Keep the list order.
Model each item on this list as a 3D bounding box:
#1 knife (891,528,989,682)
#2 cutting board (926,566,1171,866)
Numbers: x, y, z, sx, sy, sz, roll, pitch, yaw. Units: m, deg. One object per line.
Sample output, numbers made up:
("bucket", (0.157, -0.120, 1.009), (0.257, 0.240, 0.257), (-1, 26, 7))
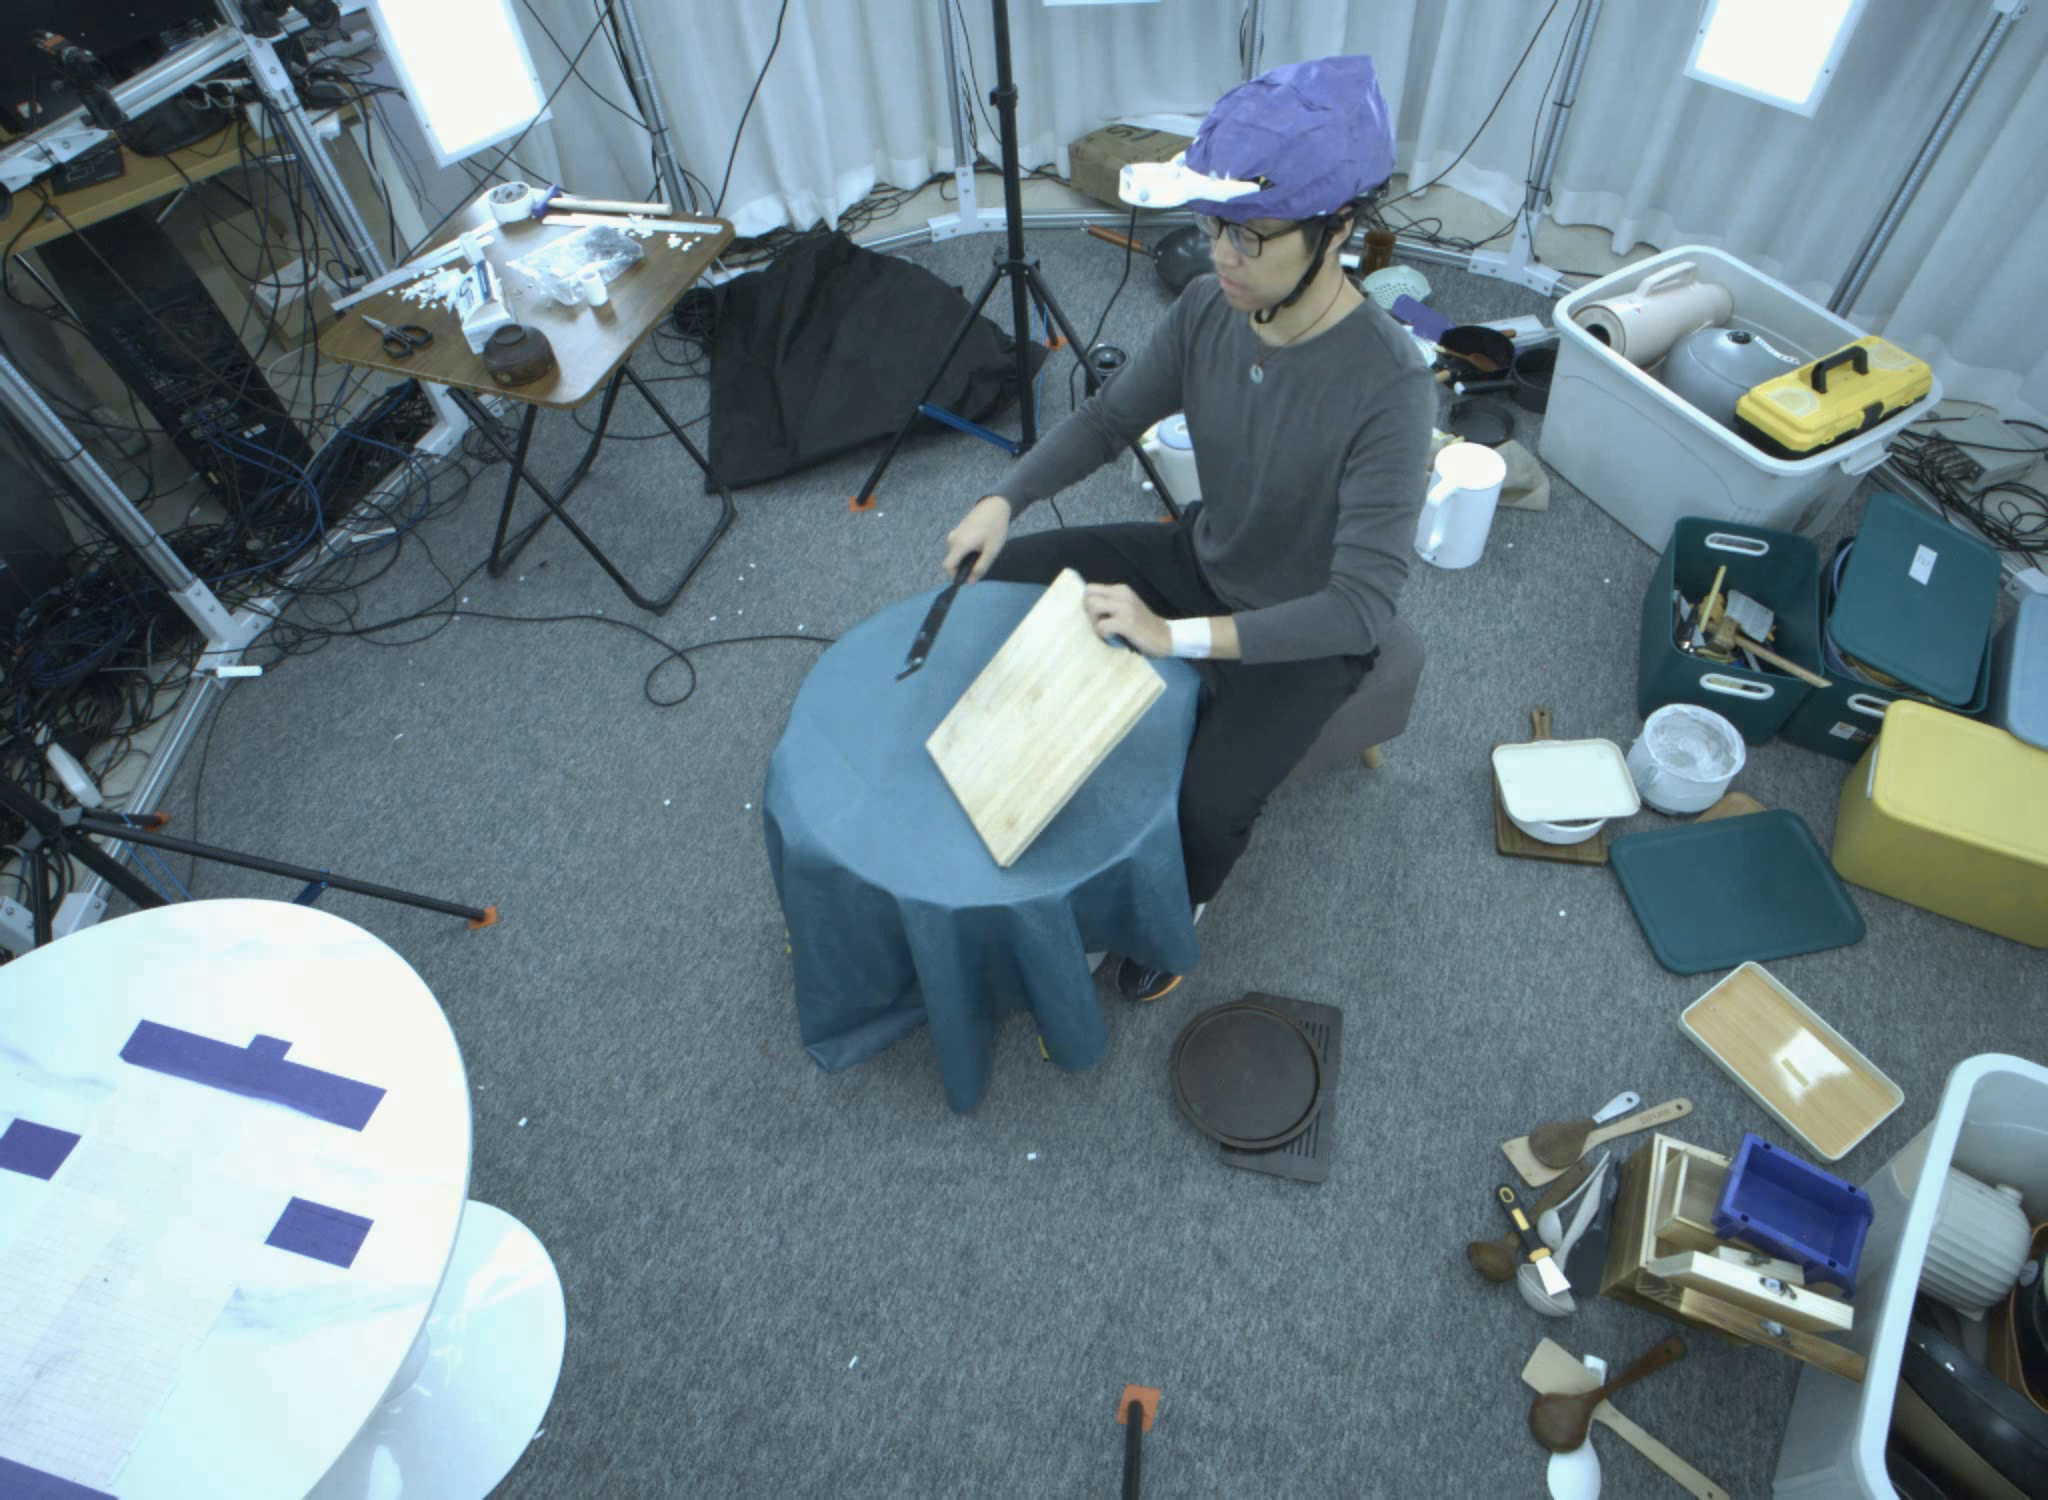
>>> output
("knife", (-0.119, -0.215, 1.774), (0.021, 0.079, 0.302), (41, 56, -24))
("cutting board", (0.020, -0.046, 1.670), (0.347, 0.024, 0.246), (-50, 56, 21))
